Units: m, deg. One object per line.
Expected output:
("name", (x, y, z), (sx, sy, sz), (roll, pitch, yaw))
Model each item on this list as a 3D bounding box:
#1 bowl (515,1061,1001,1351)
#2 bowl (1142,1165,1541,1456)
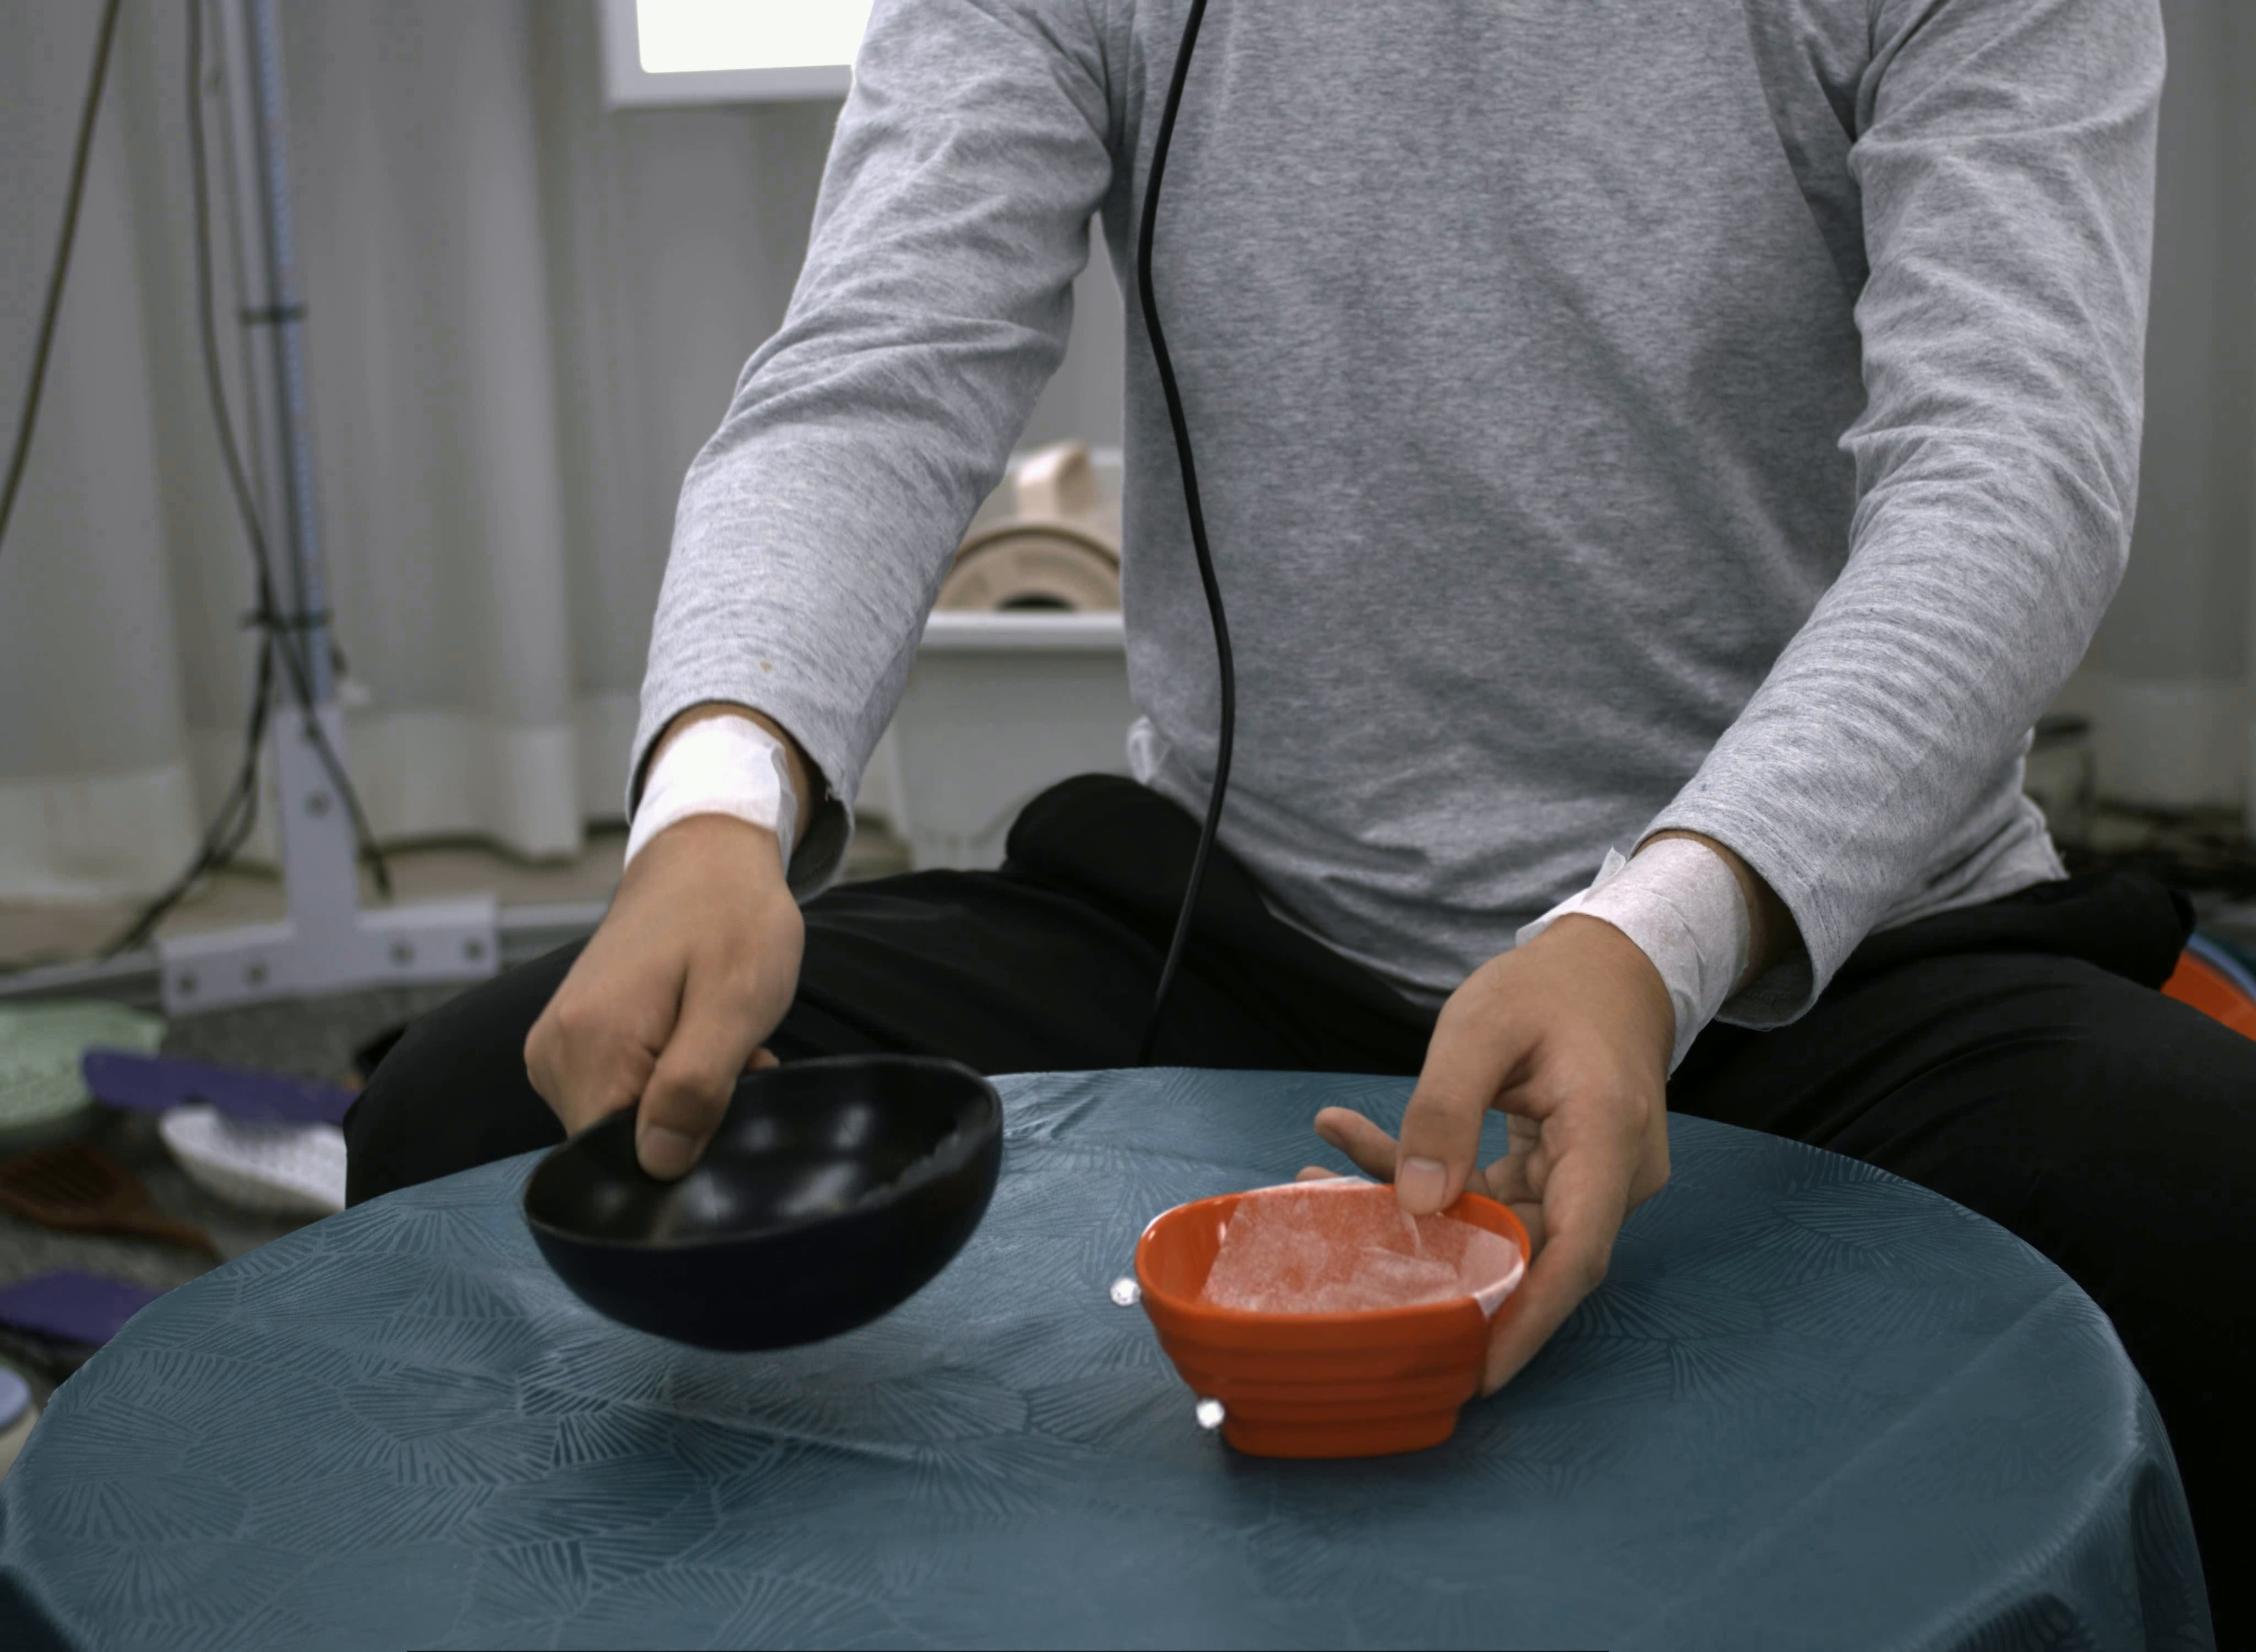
("bowl", (-0.100, 0.112, 1.540), (0.139, 0.049, 0.141), (-9, 14, 2))
("bowl", (0.060, 0.137, 1.511), (0.118, 0.051, 0.120), (-4, 18, 1))
